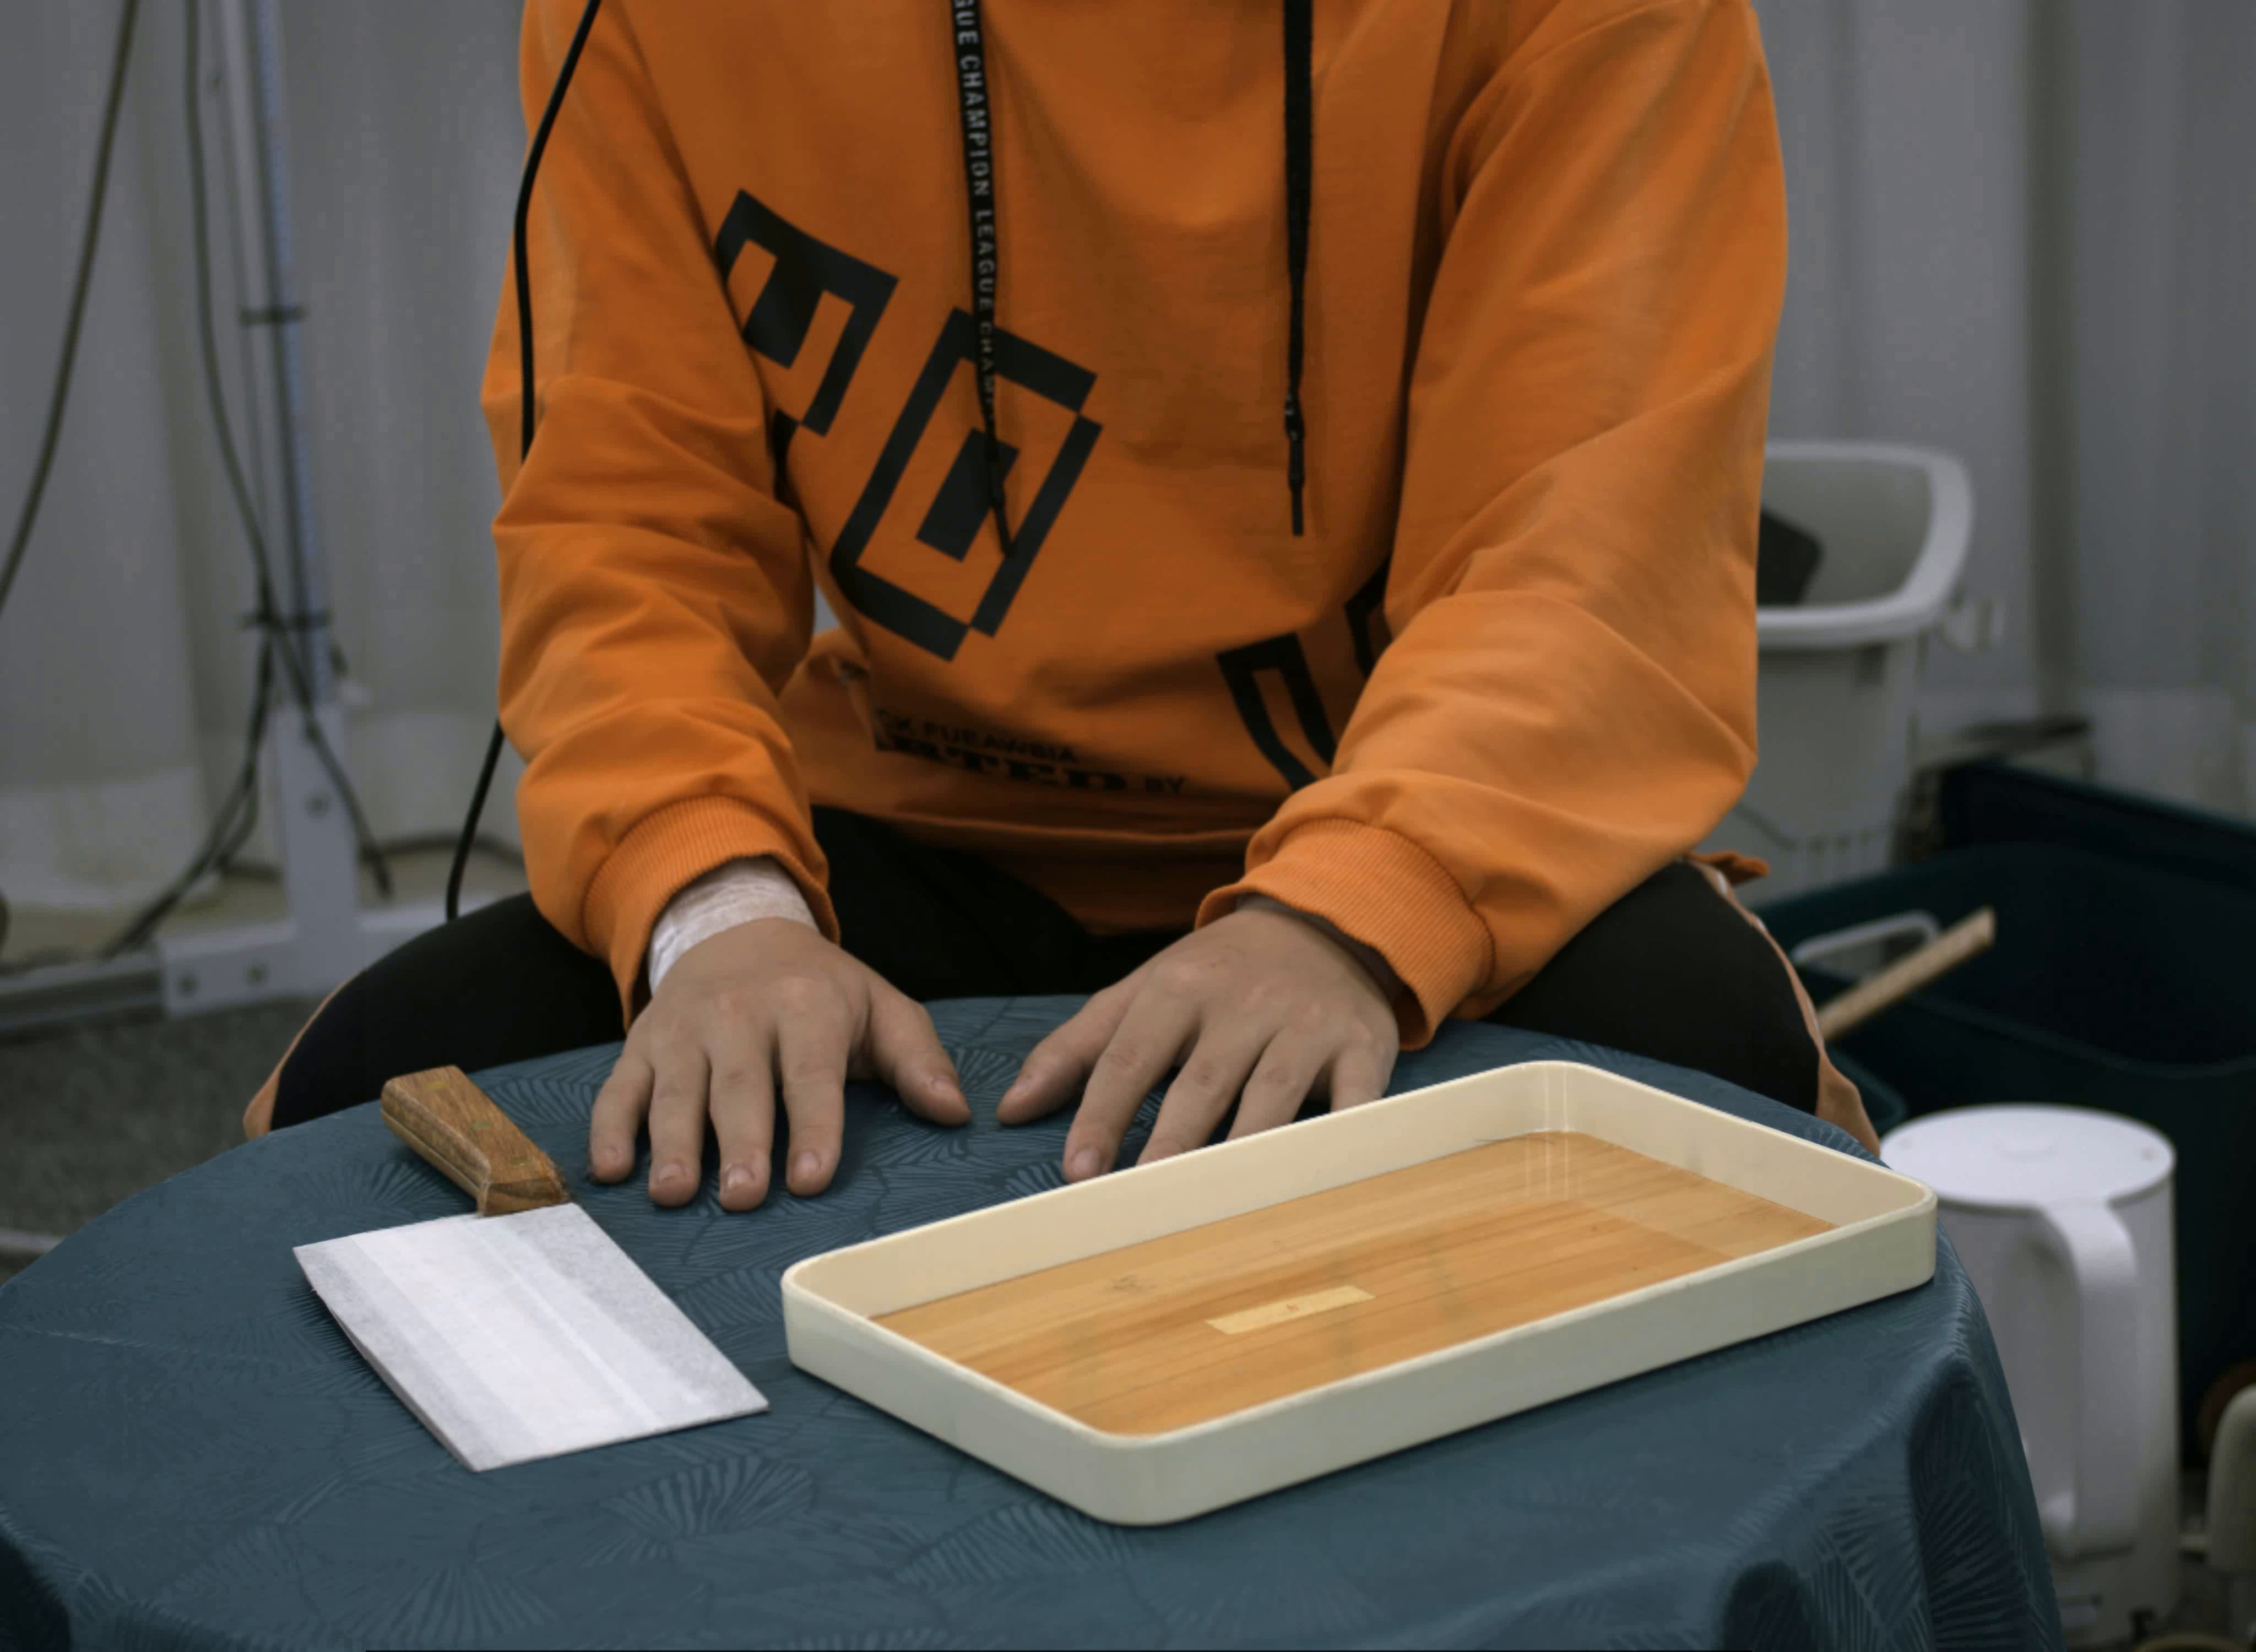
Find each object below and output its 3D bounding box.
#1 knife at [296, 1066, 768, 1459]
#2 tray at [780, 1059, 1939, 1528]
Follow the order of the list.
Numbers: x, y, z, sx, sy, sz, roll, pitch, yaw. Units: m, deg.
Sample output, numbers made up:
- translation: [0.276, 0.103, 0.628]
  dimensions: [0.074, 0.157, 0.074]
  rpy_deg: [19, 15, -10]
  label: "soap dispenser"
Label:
- translation: [-0.200, 0.132, 1.661]
  dimensions: [0.092, 0.021, 0.308]
  rpy_deg: [-10, 19, -21]
  label: "knife"
- translation: [0.069, 0.131, 1.589]
  dimensions: [0.299, 0.027, 0.193]
  rpy_deg: [-13, 18, -32]
  label: "tray"
